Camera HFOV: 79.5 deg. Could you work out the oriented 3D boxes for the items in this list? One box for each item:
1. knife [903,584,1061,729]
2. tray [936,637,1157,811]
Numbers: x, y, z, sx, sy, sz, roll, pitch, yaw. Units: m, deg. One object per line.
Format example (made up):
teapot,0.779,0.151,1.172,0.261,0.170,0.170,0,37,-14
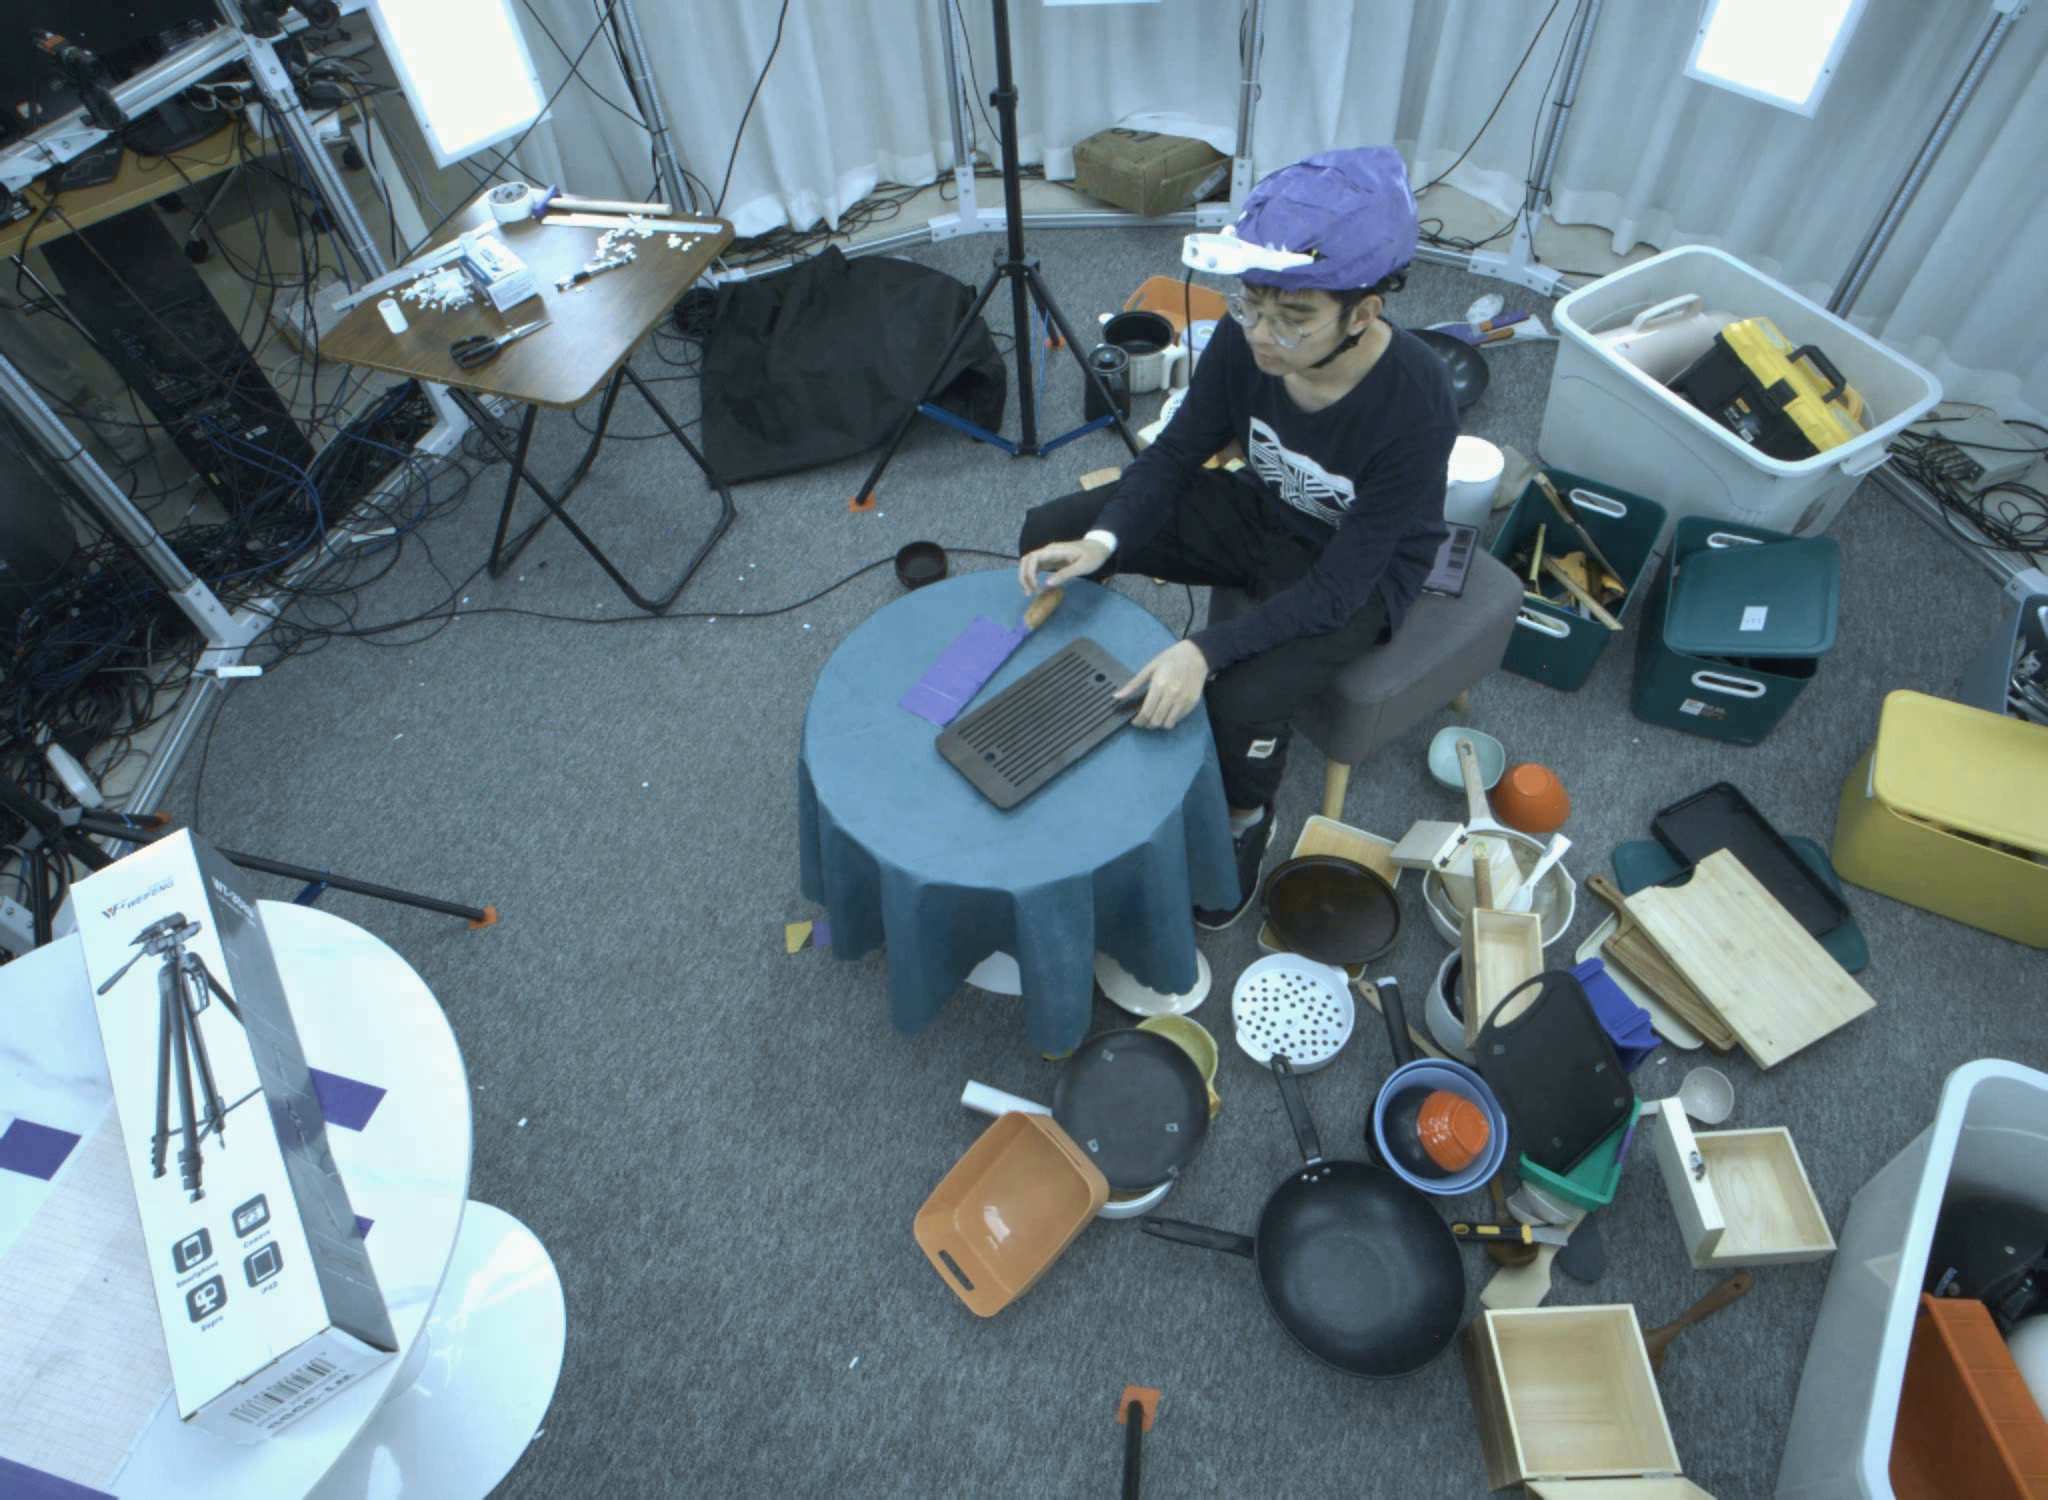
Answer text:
knife,-0.066,-0.160,1.895,0.102,0.032,0.316,29,61,20
tray,0.035,-0.043,1.813,0.308,0.019,0.167,-36,61,-22
